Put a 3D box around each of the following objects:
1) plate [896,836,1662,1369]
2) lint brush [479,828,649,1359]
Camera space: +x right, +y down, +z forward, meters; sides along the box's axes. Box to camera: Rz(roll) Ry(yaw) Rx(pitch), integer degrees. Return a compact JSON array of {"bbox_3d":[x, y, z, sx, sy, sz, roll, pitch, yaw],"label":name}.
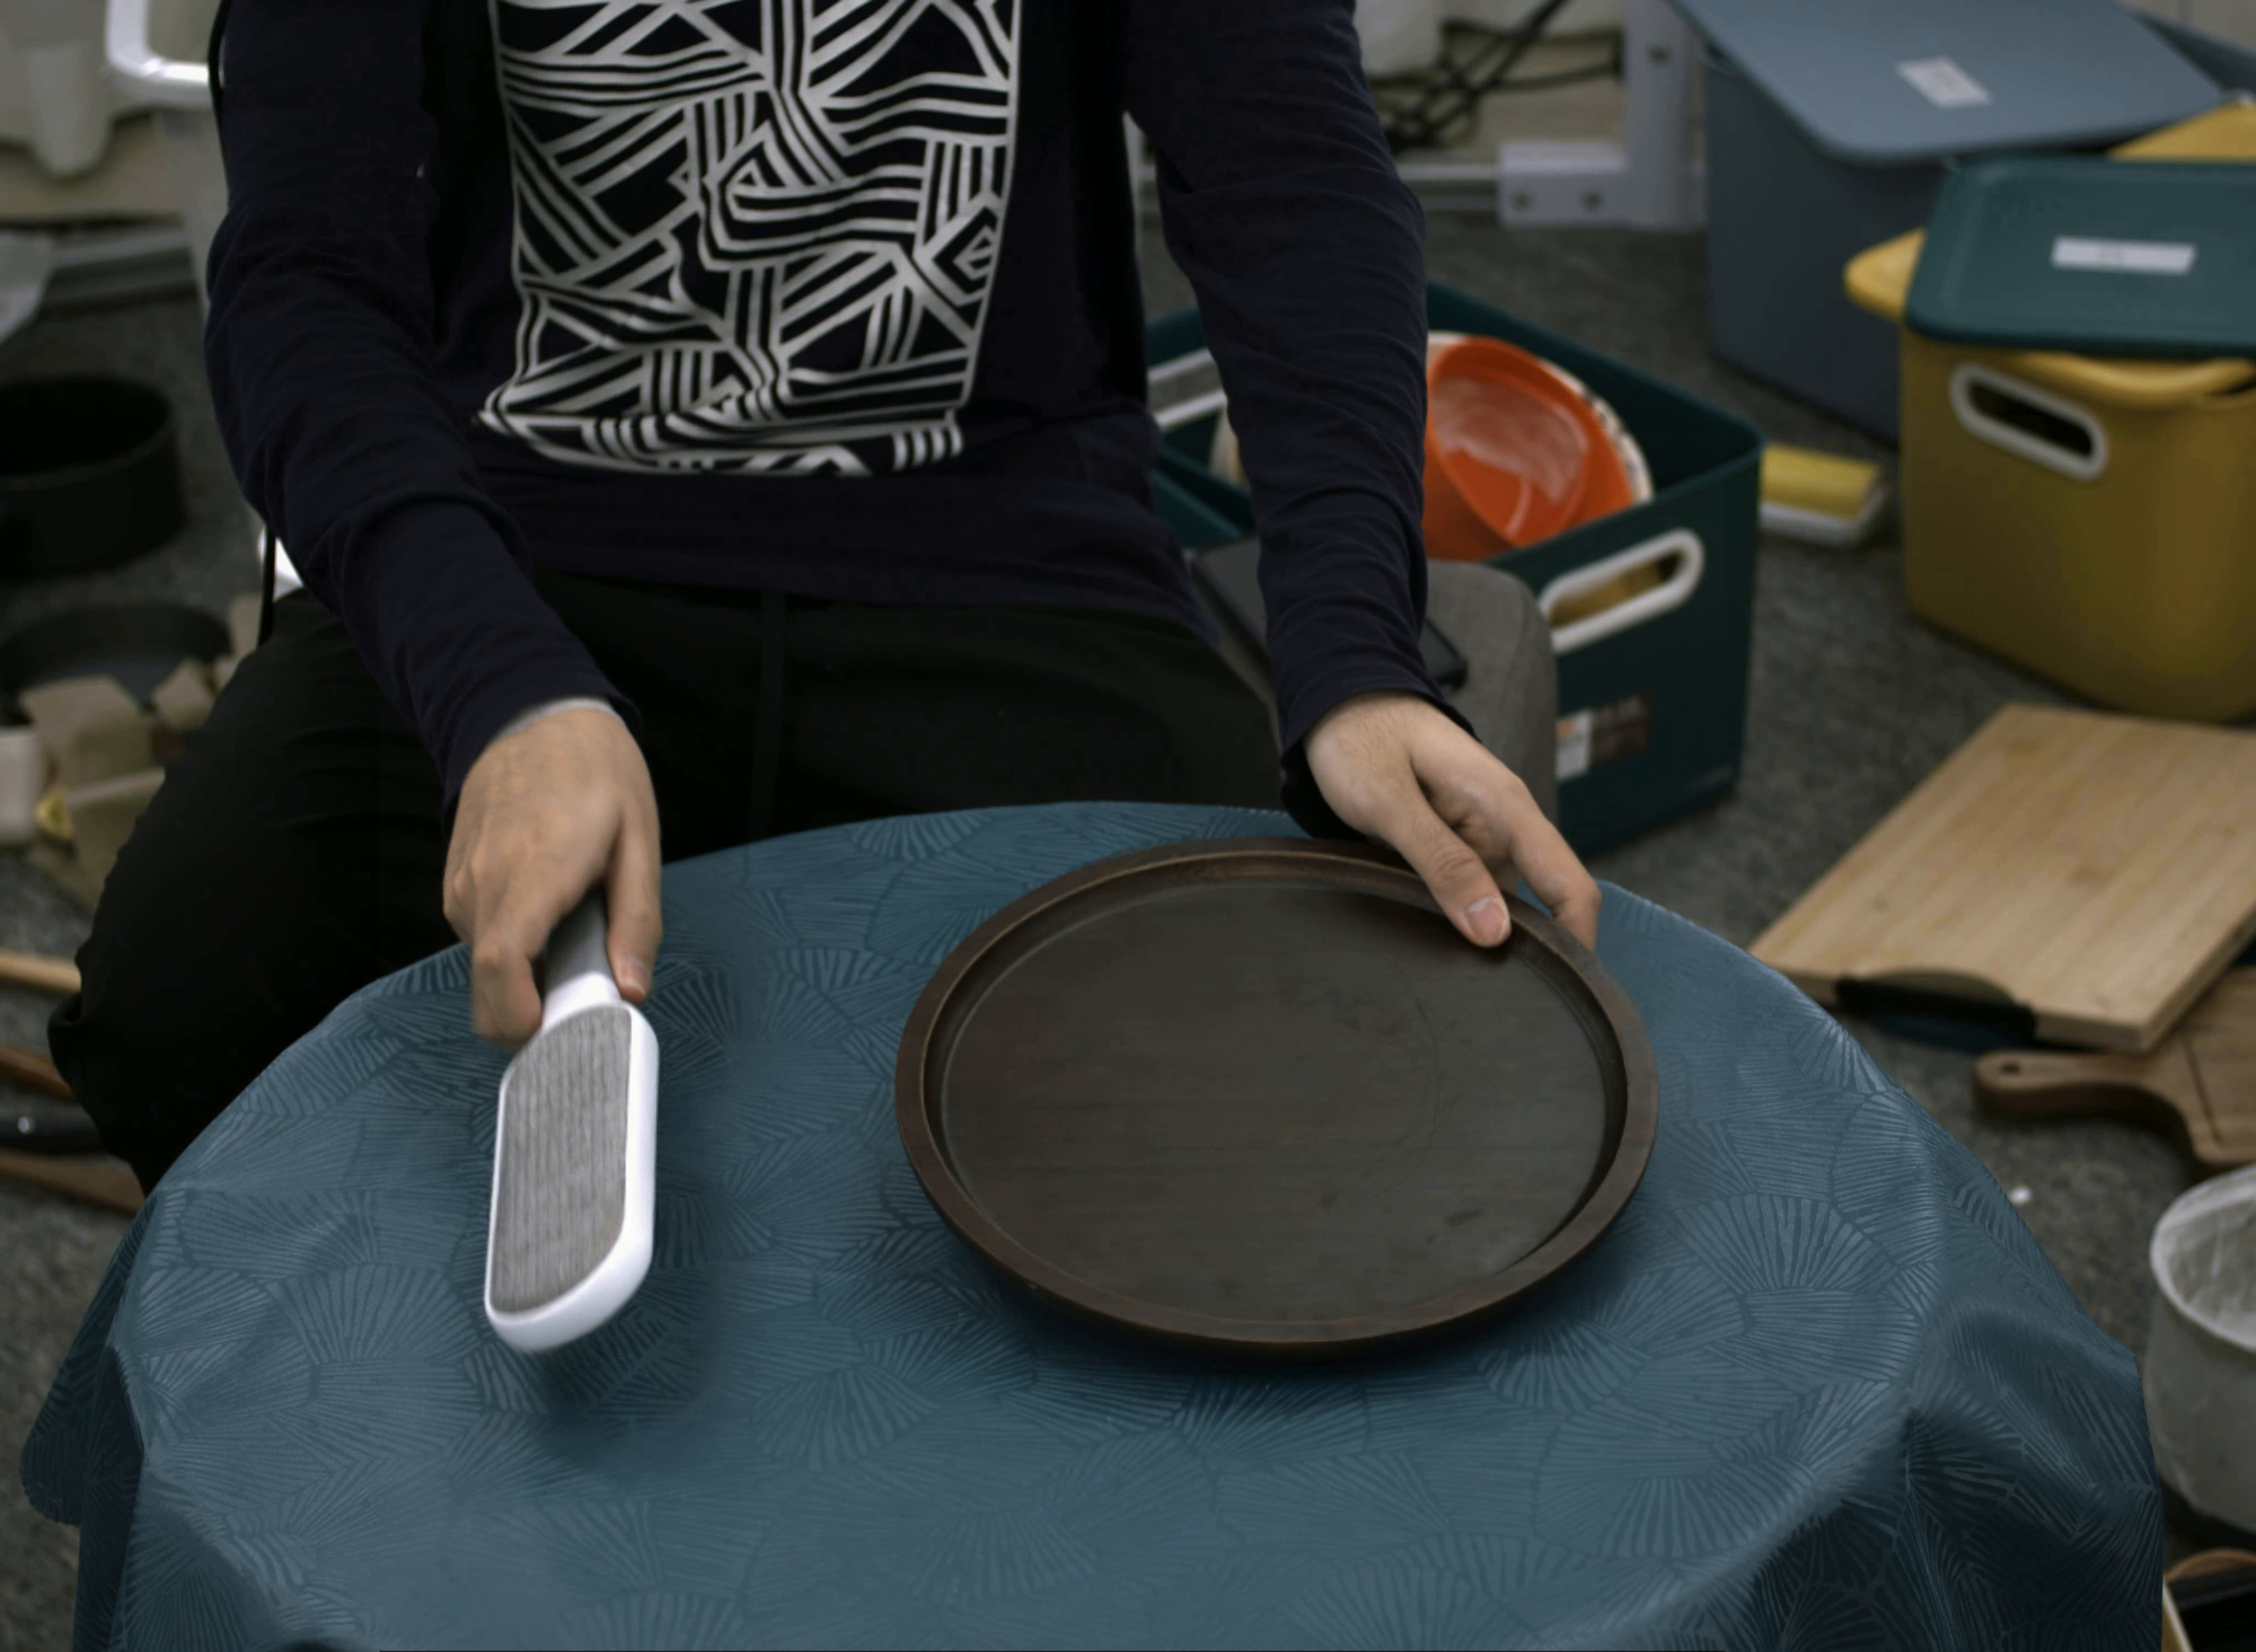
[{"bbox_3d":[0.049,0.089,1.849,0.253,0.028,0.259,2,38,-1],"label":"plate"},{"bbox_3d":[-0.183,0.081,1.863,0.059,0.021,0.313,-33,25,14],"label":"lint brush"}]
